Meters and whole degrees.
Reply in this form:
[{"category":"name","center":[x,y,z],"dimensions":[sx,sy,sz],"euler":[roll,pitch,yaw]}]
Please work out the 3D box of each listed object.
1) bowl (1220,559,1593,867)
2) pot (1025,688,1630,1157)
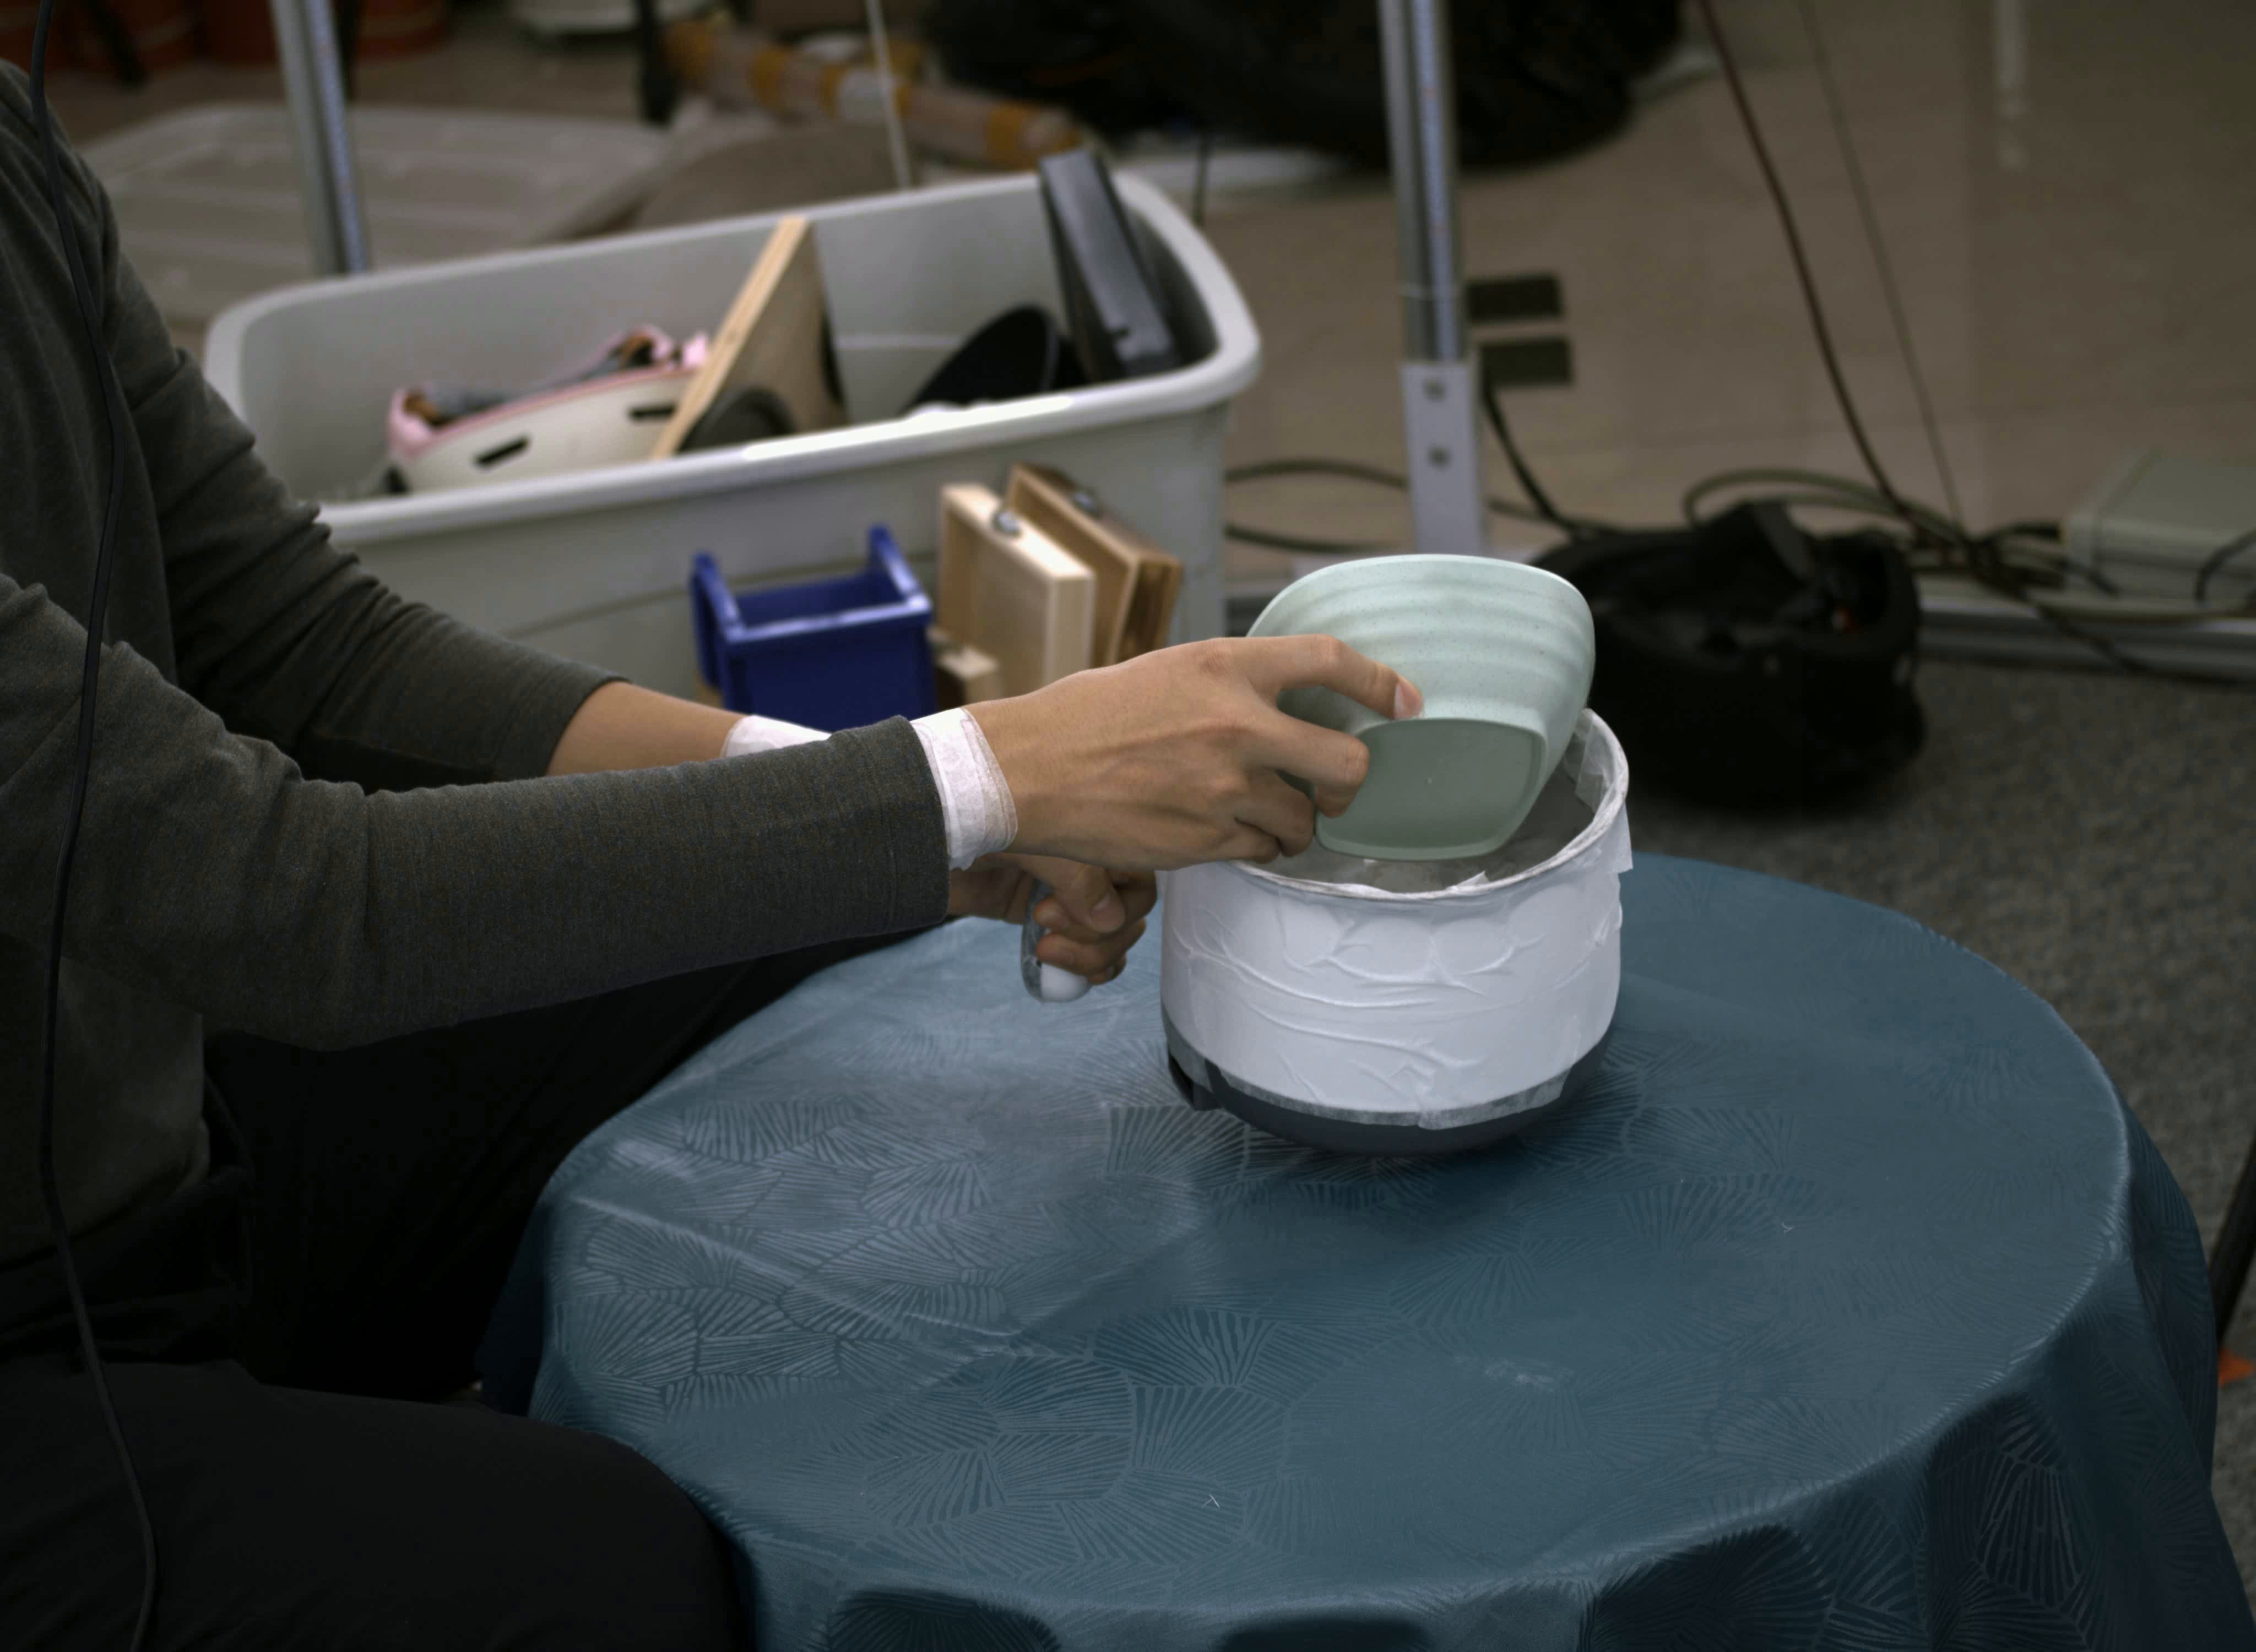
[{"category":"bowl","center":[0.107,-0.033,2.121],"dimensions":[0.151,0.154,0.057],"euler":[-7,52,-1]},{"category":"pot","center":[0.074,0.030,2.172],"dimensions":[0.233,0.139,0.176],"euler":[5,33,9]}]
